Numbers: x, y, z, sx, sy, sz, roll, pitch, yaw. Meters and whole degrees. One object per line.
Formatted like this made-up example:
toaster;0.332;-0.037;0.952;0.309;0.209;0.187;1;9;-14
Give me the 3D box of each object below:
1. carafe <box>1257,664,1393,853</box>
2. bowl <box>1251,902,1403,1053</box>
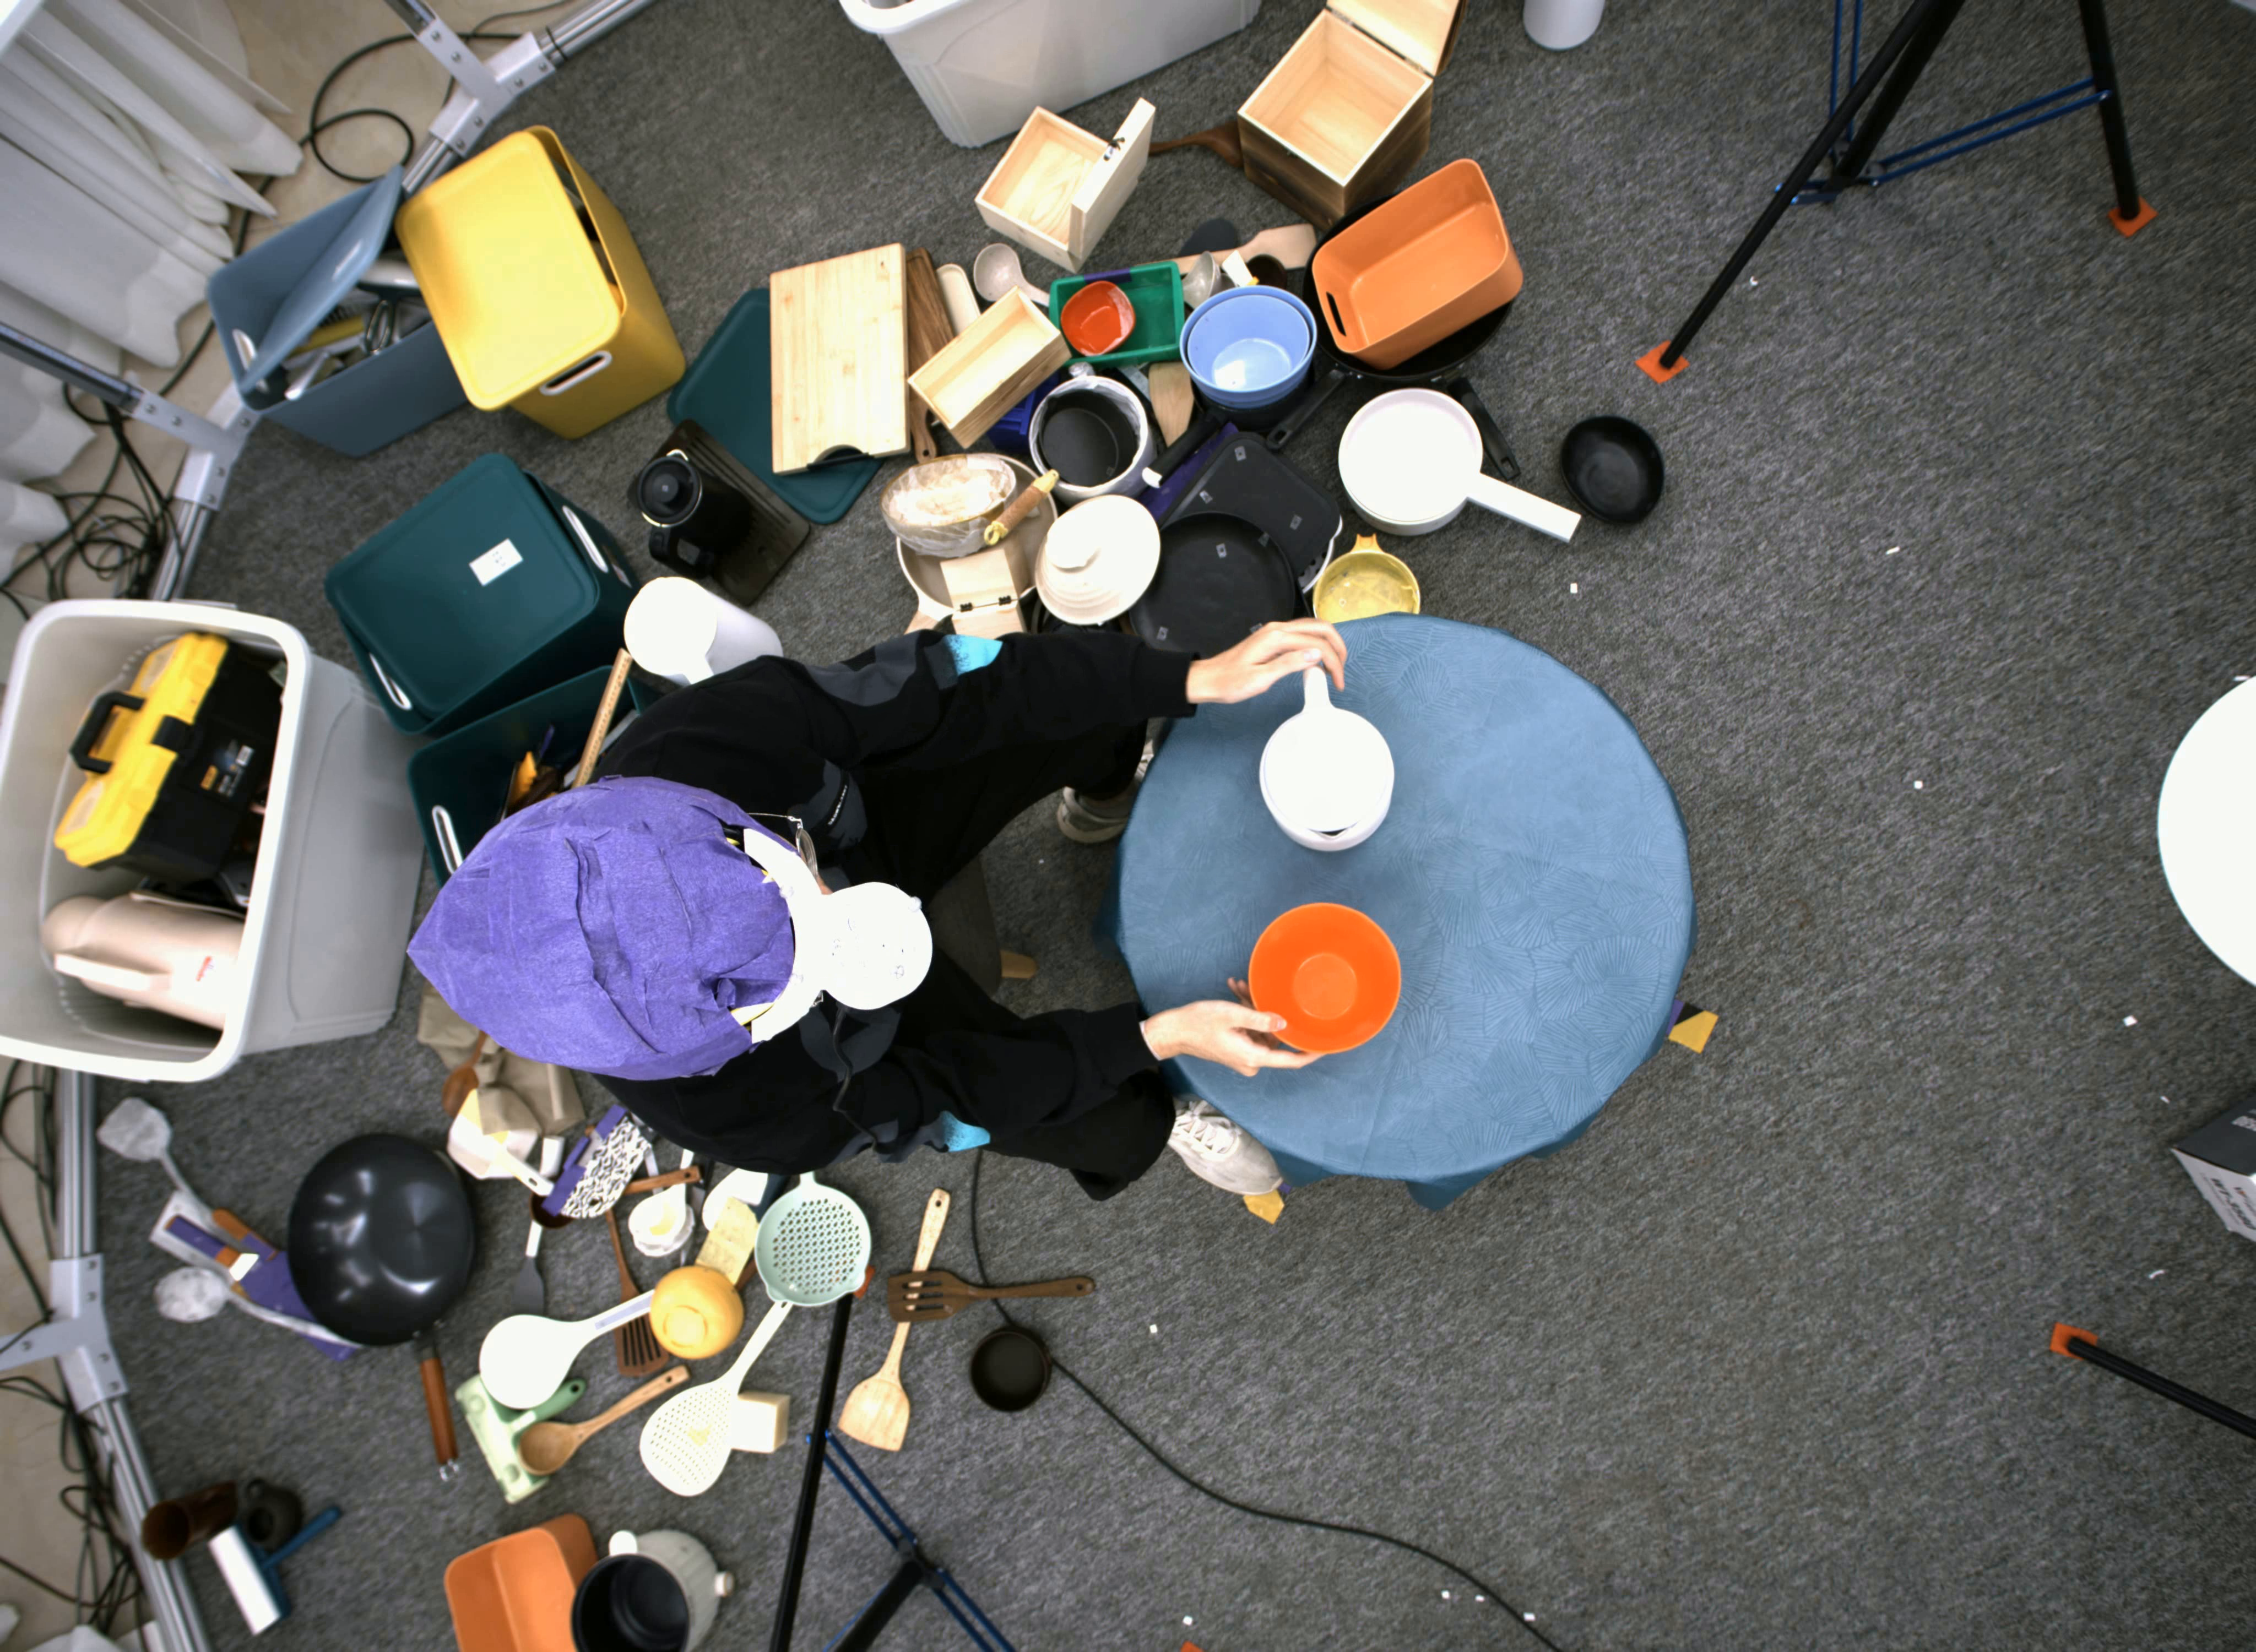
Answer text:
carafe;0.195;-0.070;1.390;0.133;0.183;0.189;-9;82;8
bowl;0.199;0.151;1.387;0.148;0.104;0.147;-1;87;9
